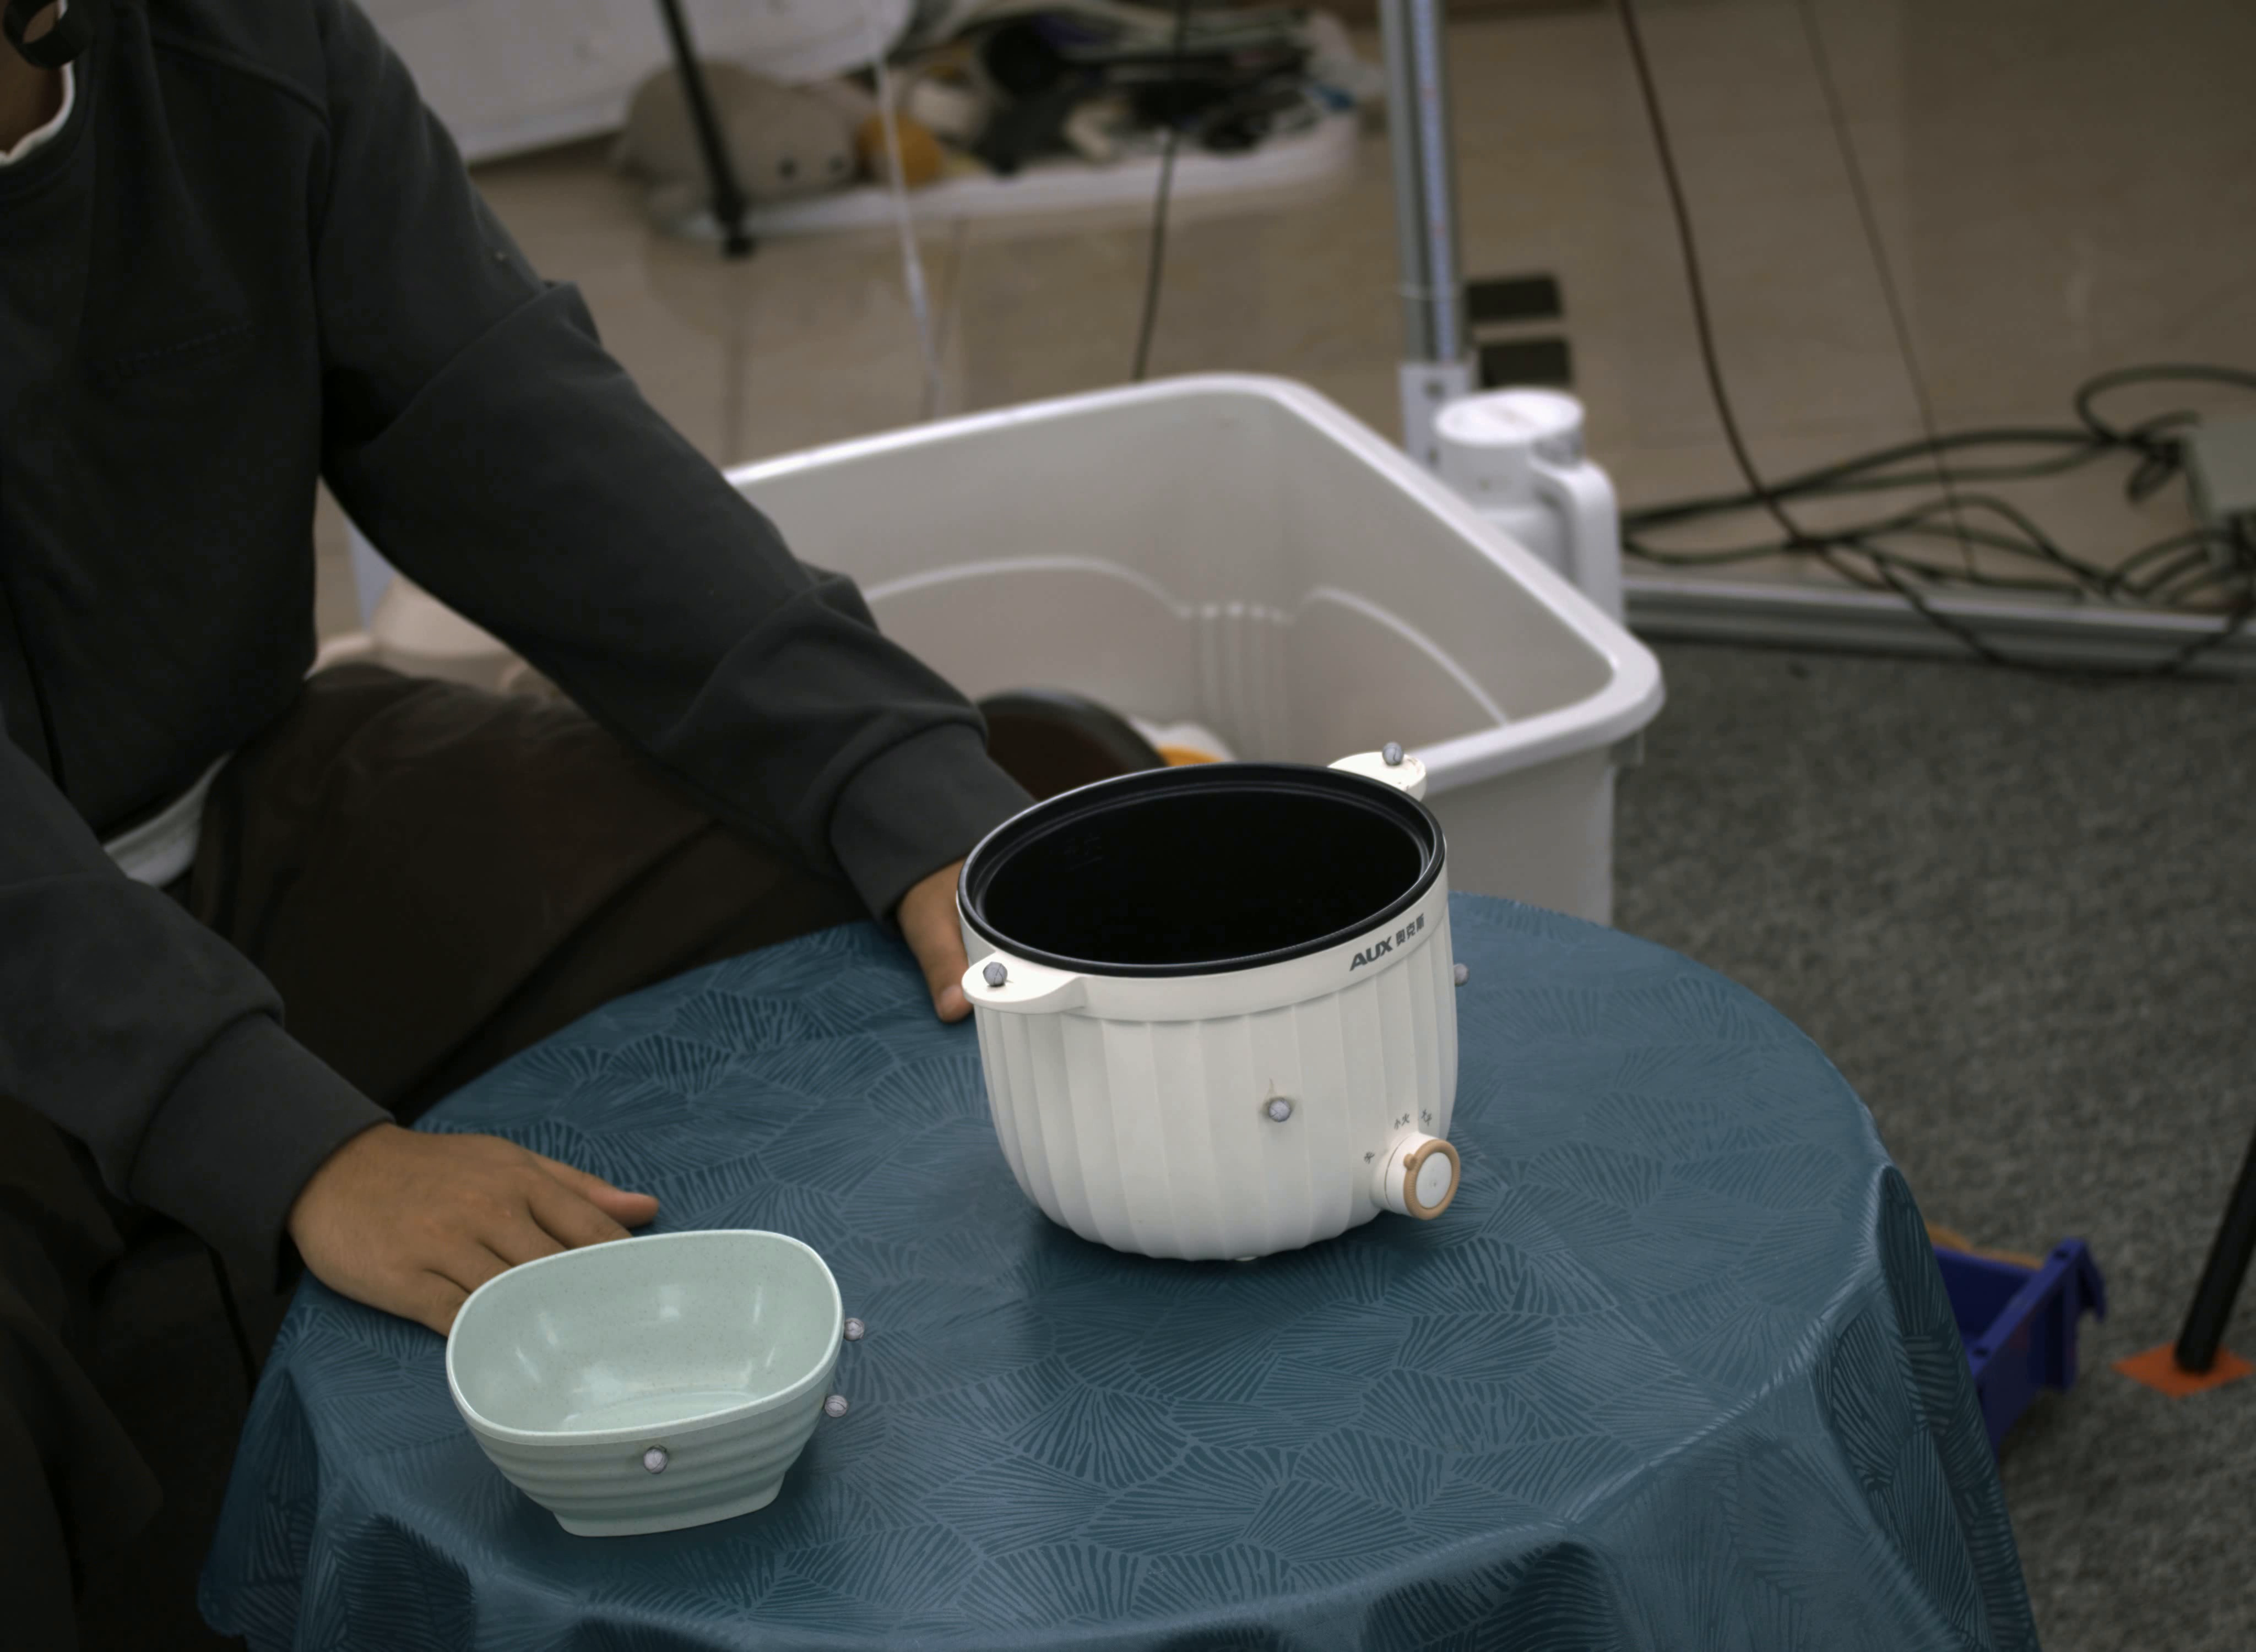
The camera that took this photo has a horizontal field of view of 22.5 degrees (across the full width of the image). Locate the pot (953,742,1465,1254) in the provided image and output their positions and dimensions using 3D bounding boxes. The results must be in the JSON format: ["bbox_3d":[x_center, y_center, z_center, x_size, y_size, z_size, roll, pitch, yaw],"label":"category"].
[{"bbox_3d":[0.038,0.071,2.115,0.189,0.145,0.238,12,32,40],"label":"pot"}]

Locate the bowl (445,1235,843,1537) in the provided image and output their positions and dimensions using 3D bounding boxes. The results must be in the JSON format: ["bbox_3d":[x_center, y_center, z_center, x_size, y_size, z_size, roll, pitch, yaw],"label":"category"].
[{"bbox_3d":[-0.166,0.201,1.986,0.151,0.059,0.149,-4,24,2],"label":"bowl"}]
